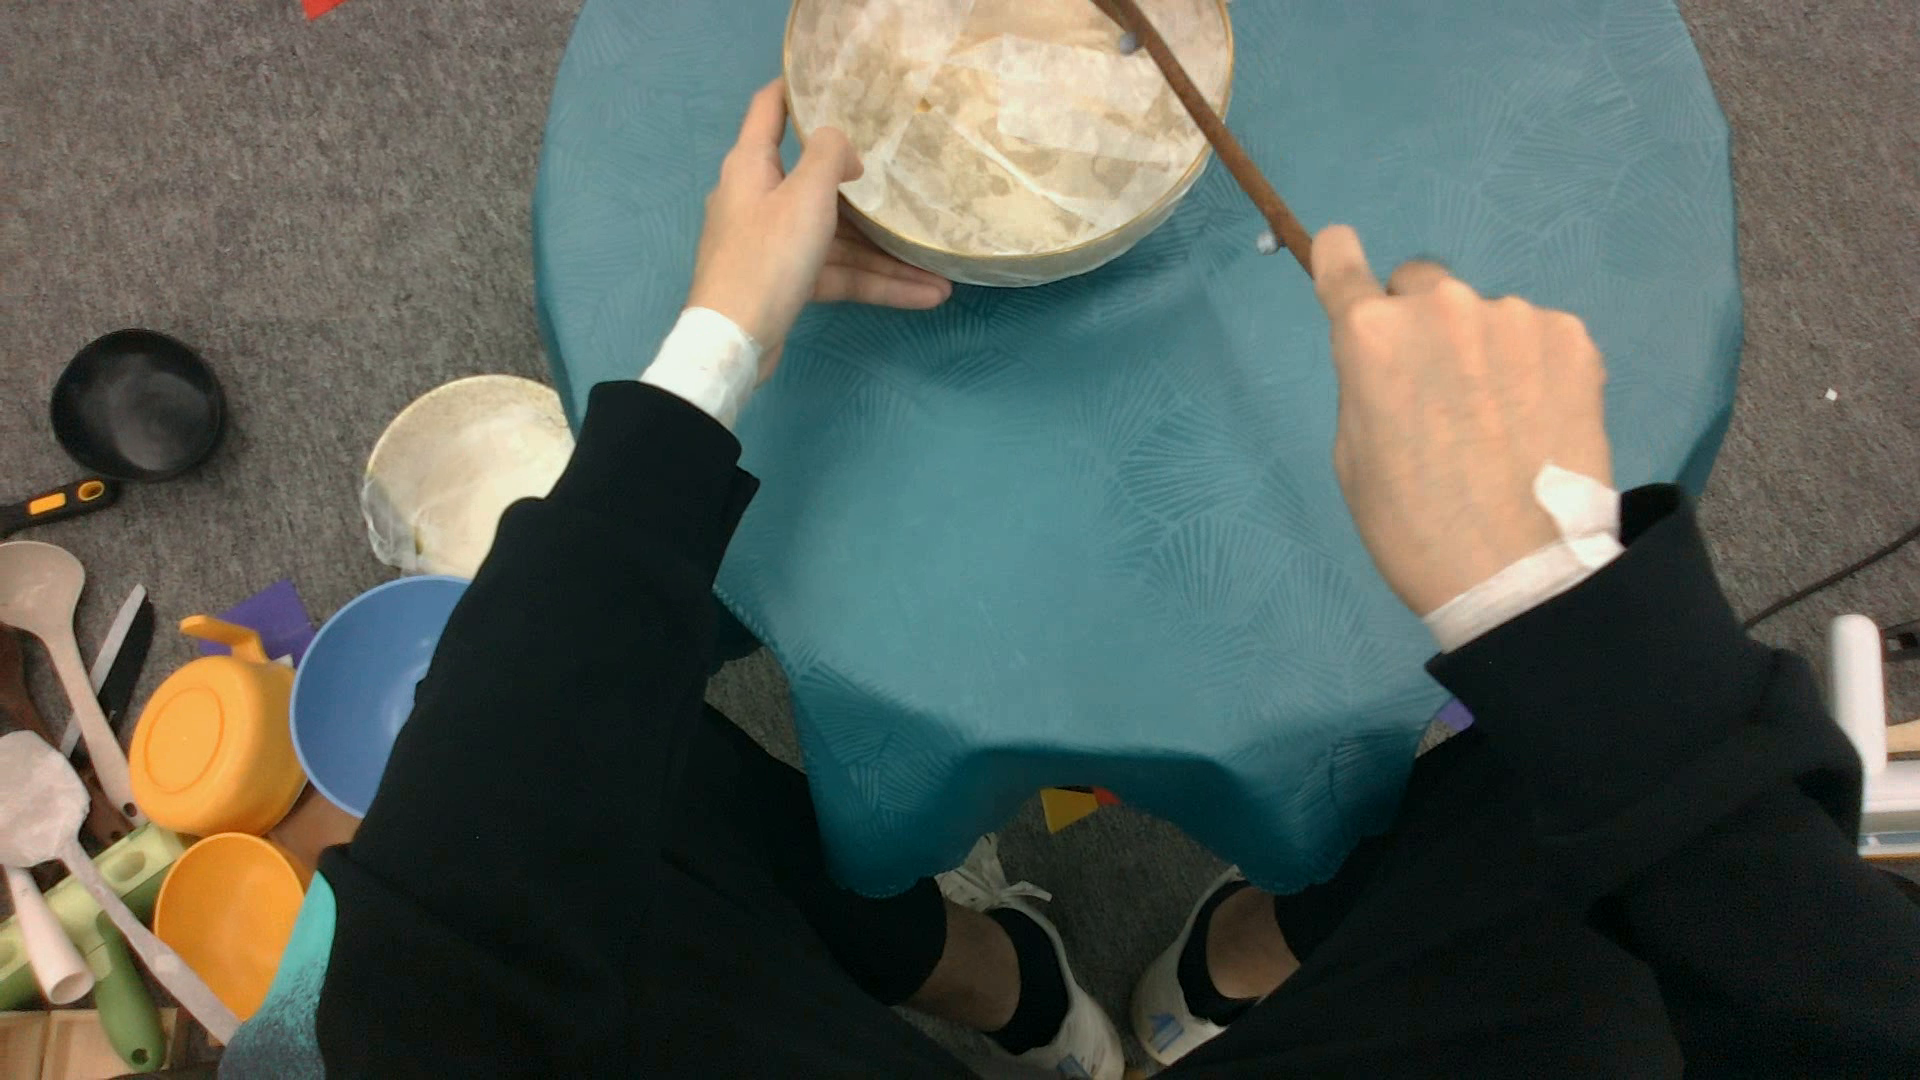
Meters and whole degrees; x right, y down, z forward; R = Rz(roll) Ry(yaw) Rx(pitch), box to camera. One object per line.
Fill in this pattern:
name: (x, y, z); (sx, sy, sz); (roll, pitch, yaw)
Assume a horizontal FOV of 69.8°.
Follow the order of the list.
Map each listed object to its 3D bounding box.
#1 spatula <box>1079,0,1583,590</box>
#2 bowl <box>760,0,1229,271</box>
spatula: (0.098, -0.133, 0.508); (0.016, 0.096, 0.387); (-41, 62, 21)
bowl: (0.013, -0.208, 0.651); (0.215, 0.094, 0.215); (0, 75, -1)
